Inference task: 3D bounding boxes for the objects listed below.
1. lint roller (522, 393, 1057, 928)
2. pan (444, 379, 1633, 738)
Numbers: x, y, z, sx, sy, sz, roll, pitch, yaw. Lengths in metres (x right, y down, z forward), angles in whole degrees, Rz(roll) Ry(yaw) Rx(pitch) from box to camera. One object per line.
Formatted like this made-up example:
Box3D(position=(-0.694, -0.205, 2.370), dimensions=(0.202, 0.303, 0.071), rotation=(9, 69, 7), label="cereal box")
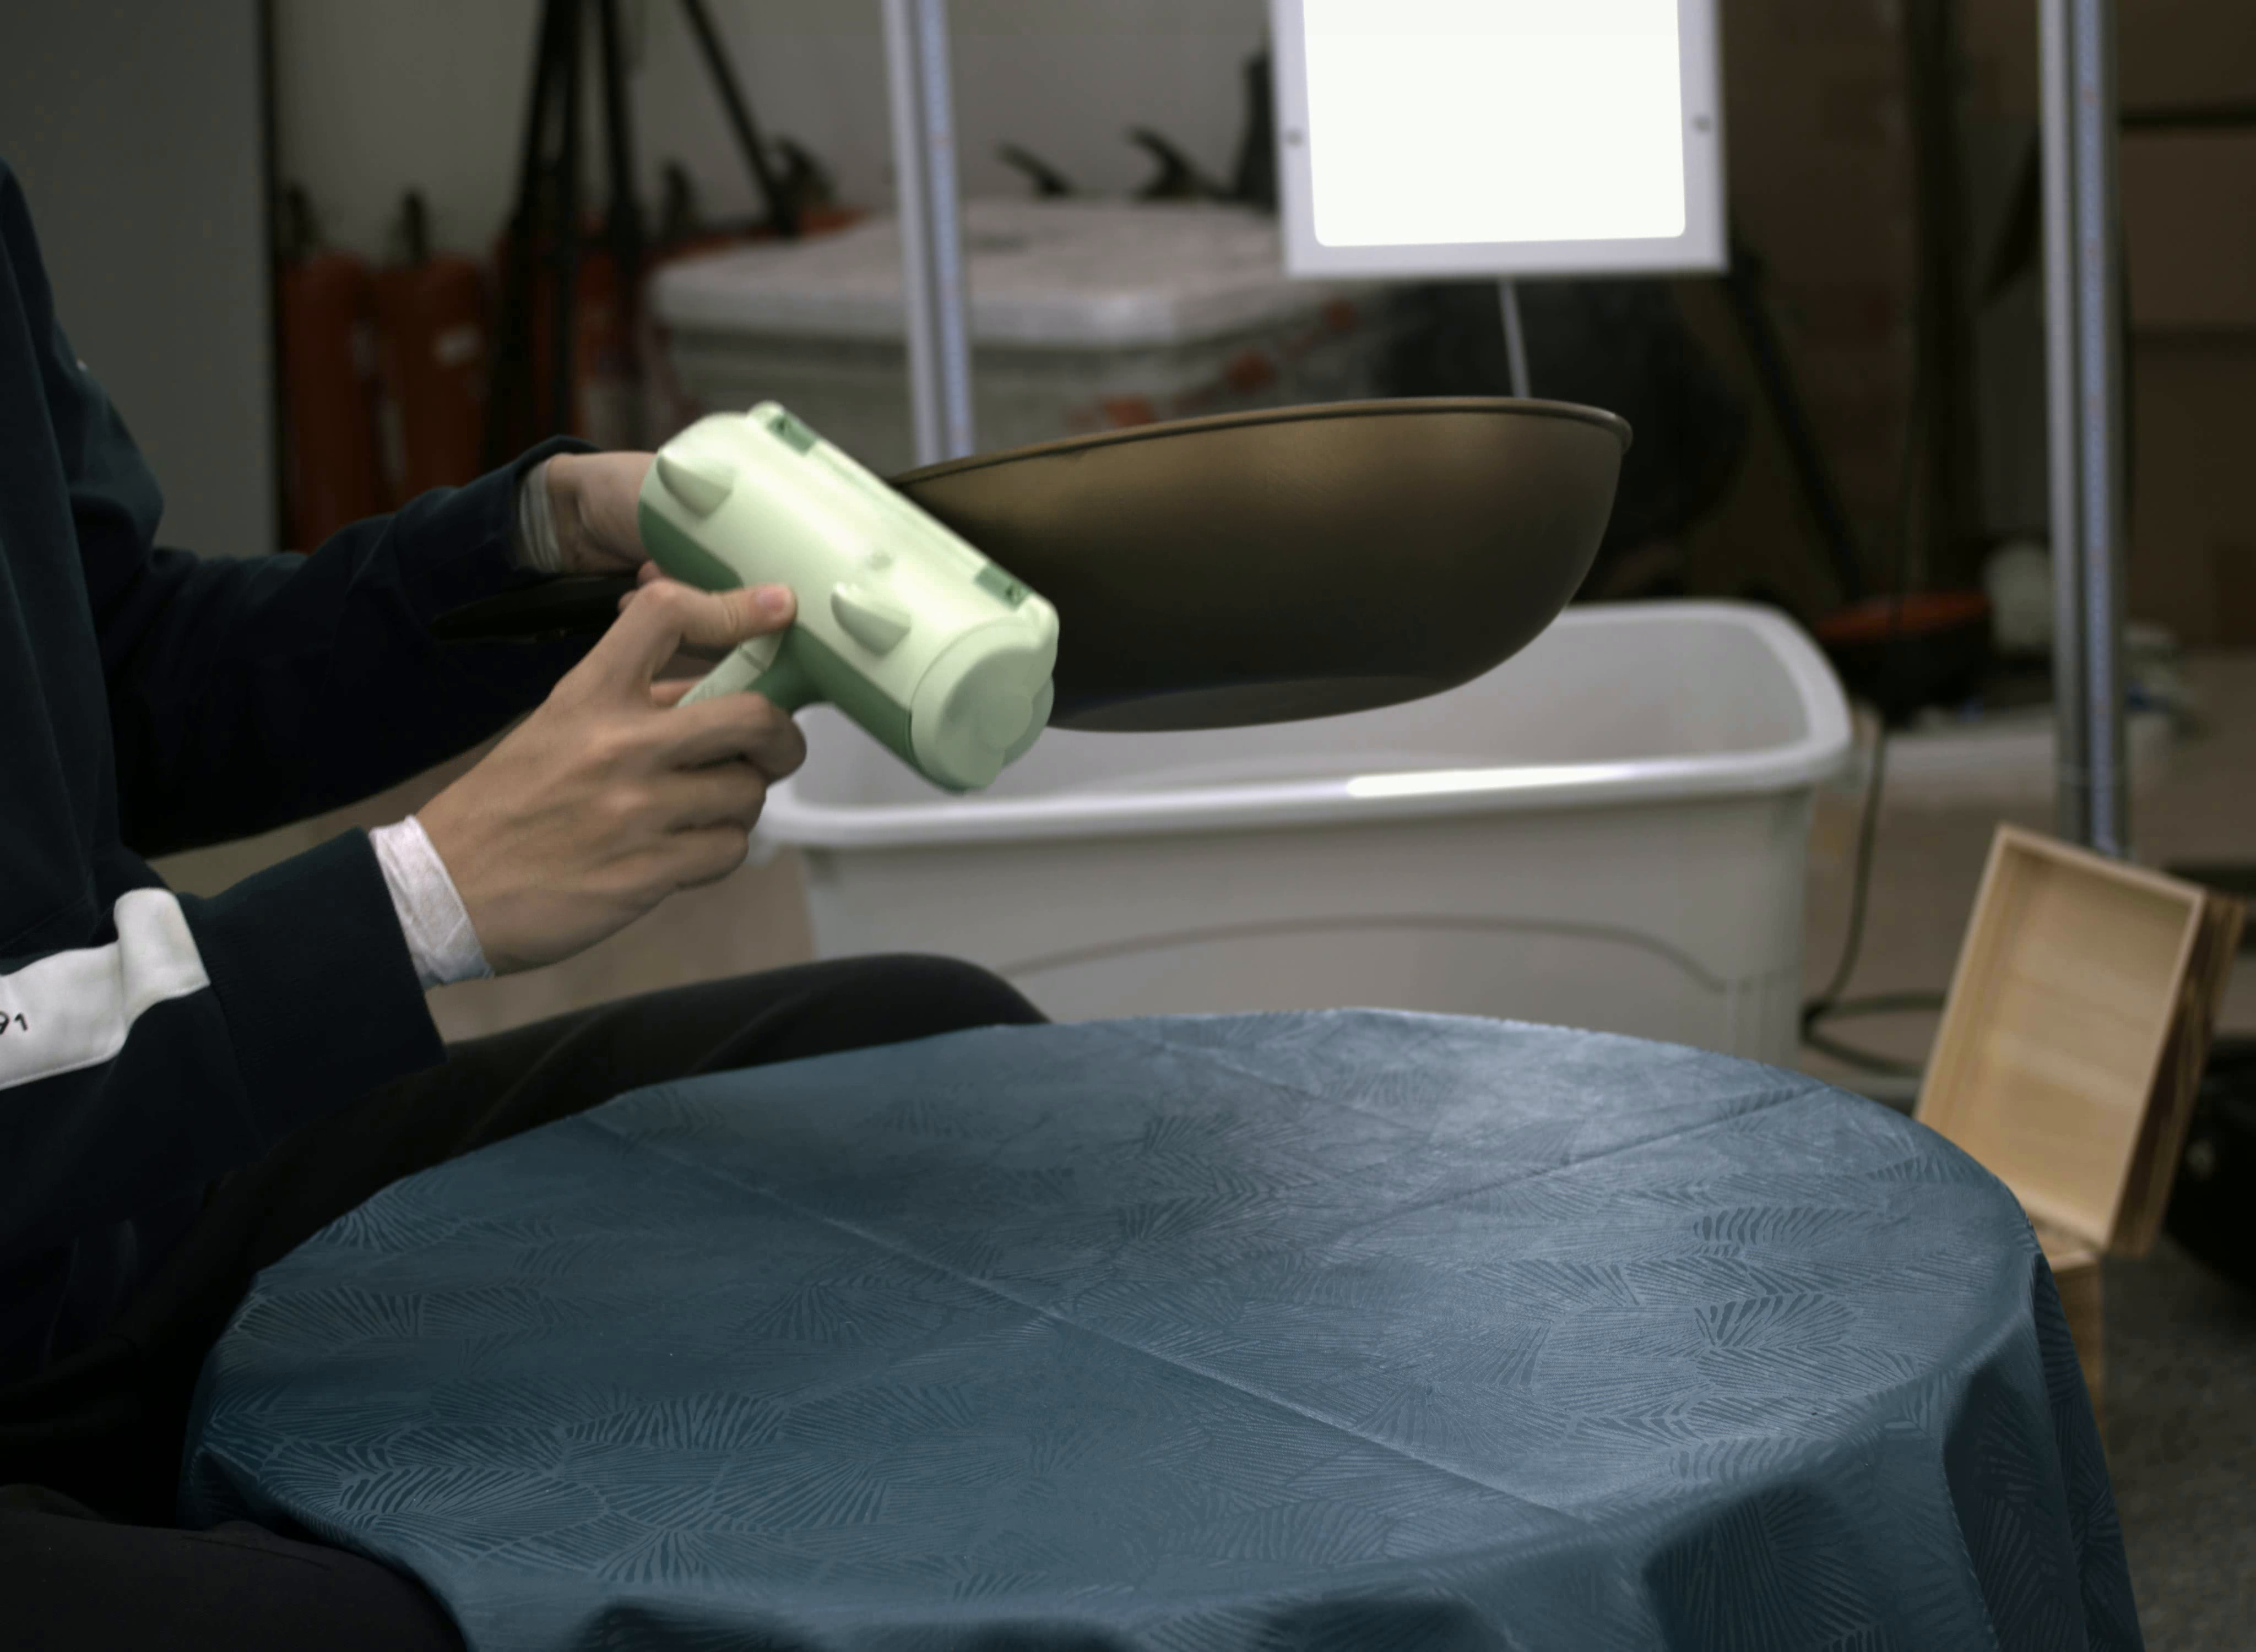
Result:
Box3D(position=(-0.139, -0.048, 1.797), dimensions=(0.182, 0.081, 0.201), rotation=(-41, 42, -9), label="lint roller")
Box3D(position=(-0.042, -0.070, 1.931), dimensions=(0.471, 0.087, 0.282), rotation=(-9, -7, 26), label="pan")
